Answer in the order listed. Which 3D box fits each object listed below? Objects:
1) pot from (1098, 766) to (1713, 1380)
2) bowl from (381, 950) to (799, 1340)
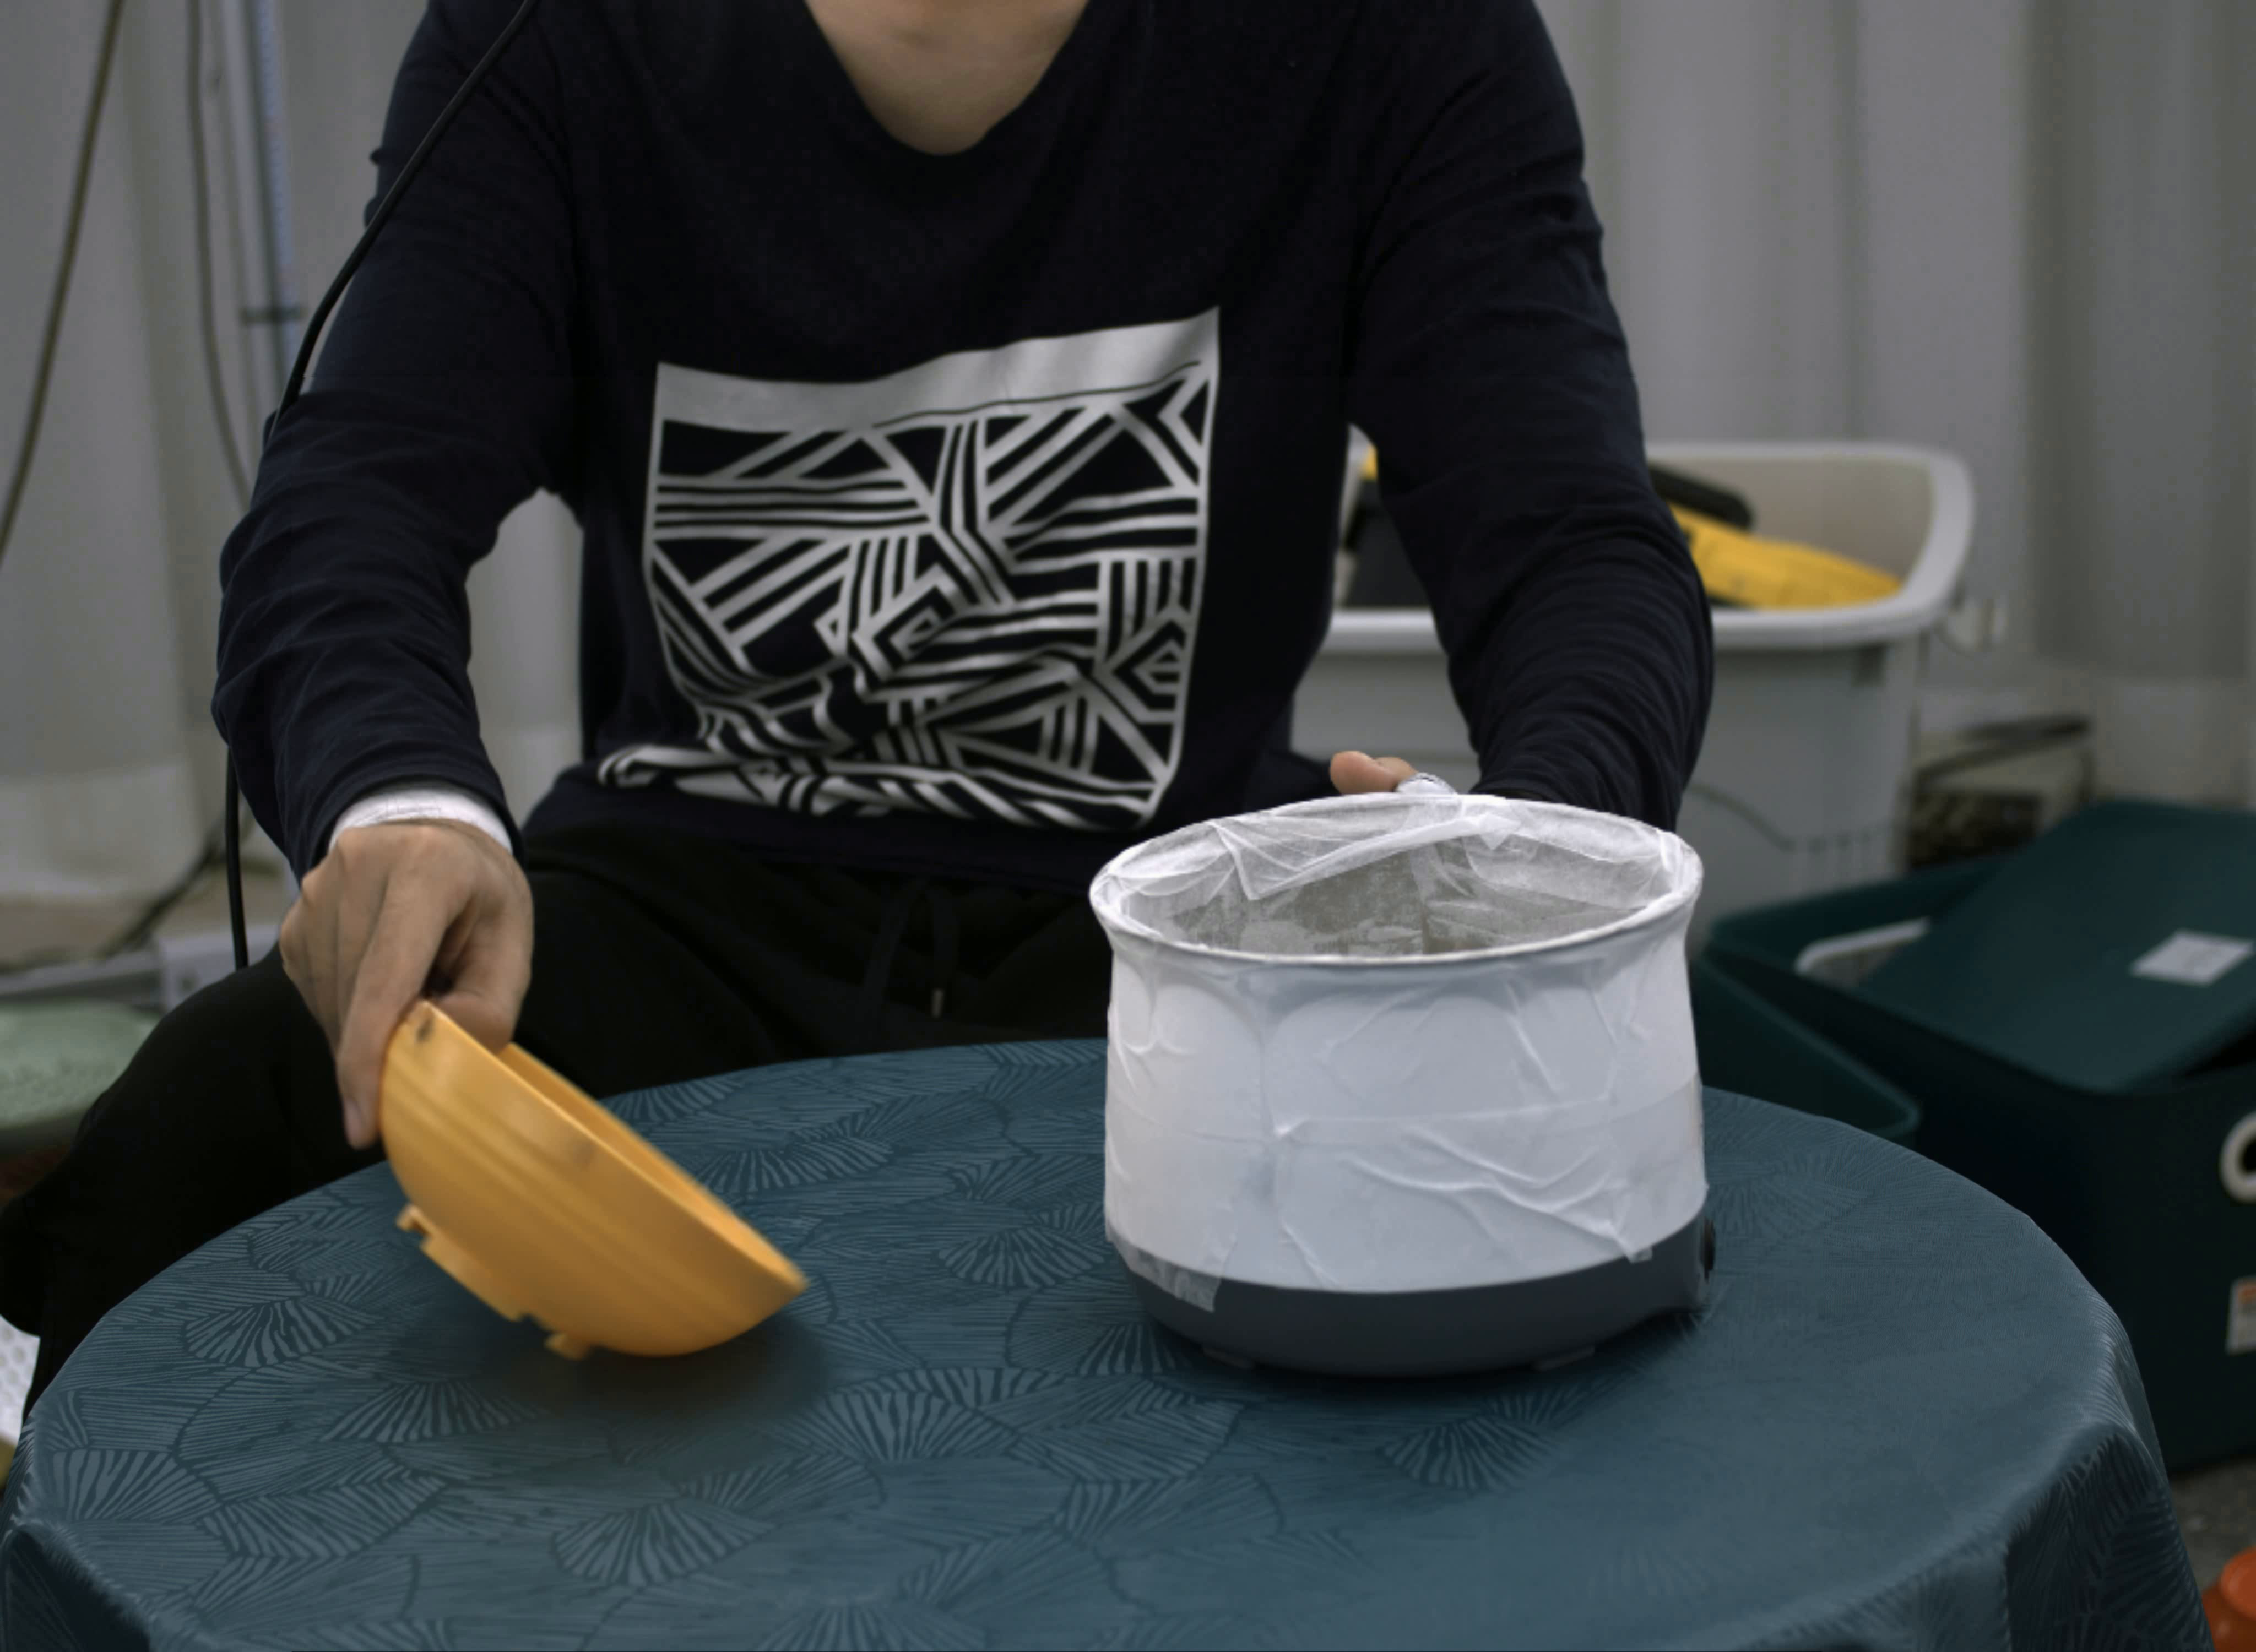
[{"bbox_3d":[0.083,0.067,1.613,0.178,0.136,0.235,1,15,6],"label":"pot"},{"bbox_3d":[-0.167,0.105,1.582,0.145,0.060,0.145,40,1,-1],"label":"bowl"}]
